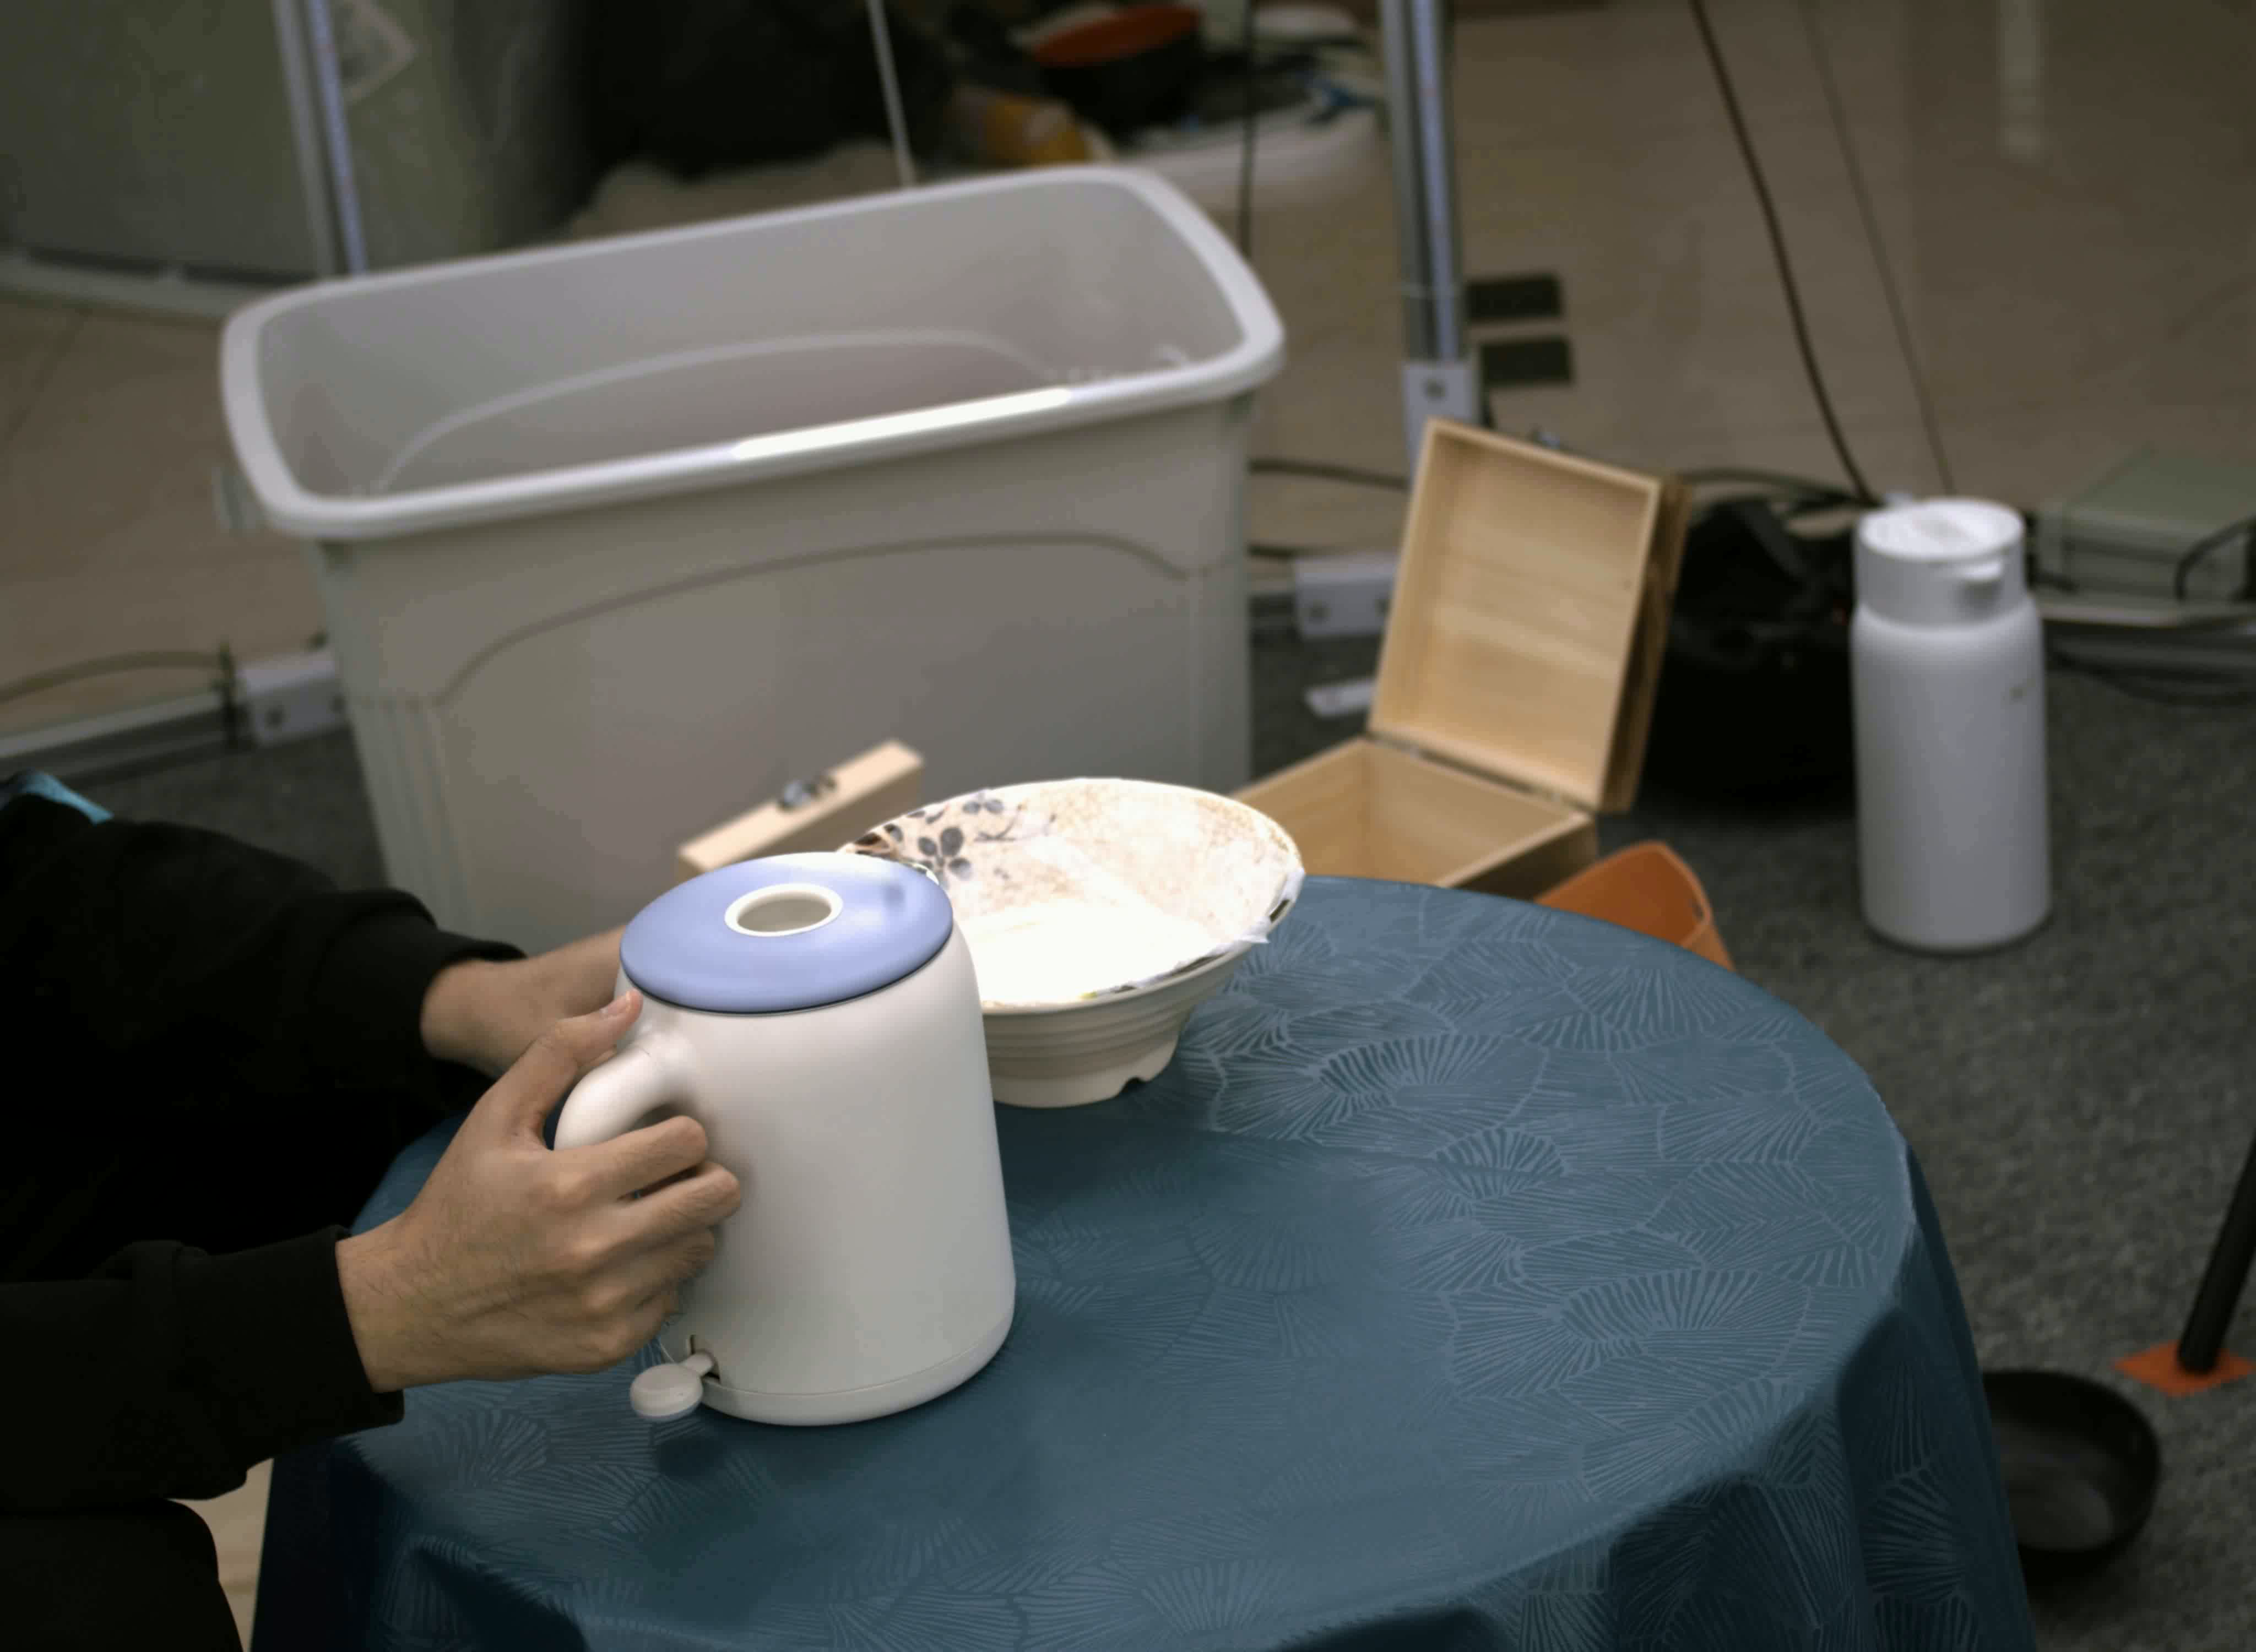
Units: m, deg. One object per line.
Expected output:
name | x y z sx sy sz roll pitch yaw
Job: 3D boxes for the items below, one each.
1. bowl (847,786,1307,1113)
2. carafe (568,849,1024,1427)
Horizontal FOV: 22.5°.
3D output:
bowl | -0.026 0.059 2.232 0.204 0.079 0.201 -8 24 4
carafe | -0.127 0.121 2.011 0.131 0.185 0.189 15 36 39
